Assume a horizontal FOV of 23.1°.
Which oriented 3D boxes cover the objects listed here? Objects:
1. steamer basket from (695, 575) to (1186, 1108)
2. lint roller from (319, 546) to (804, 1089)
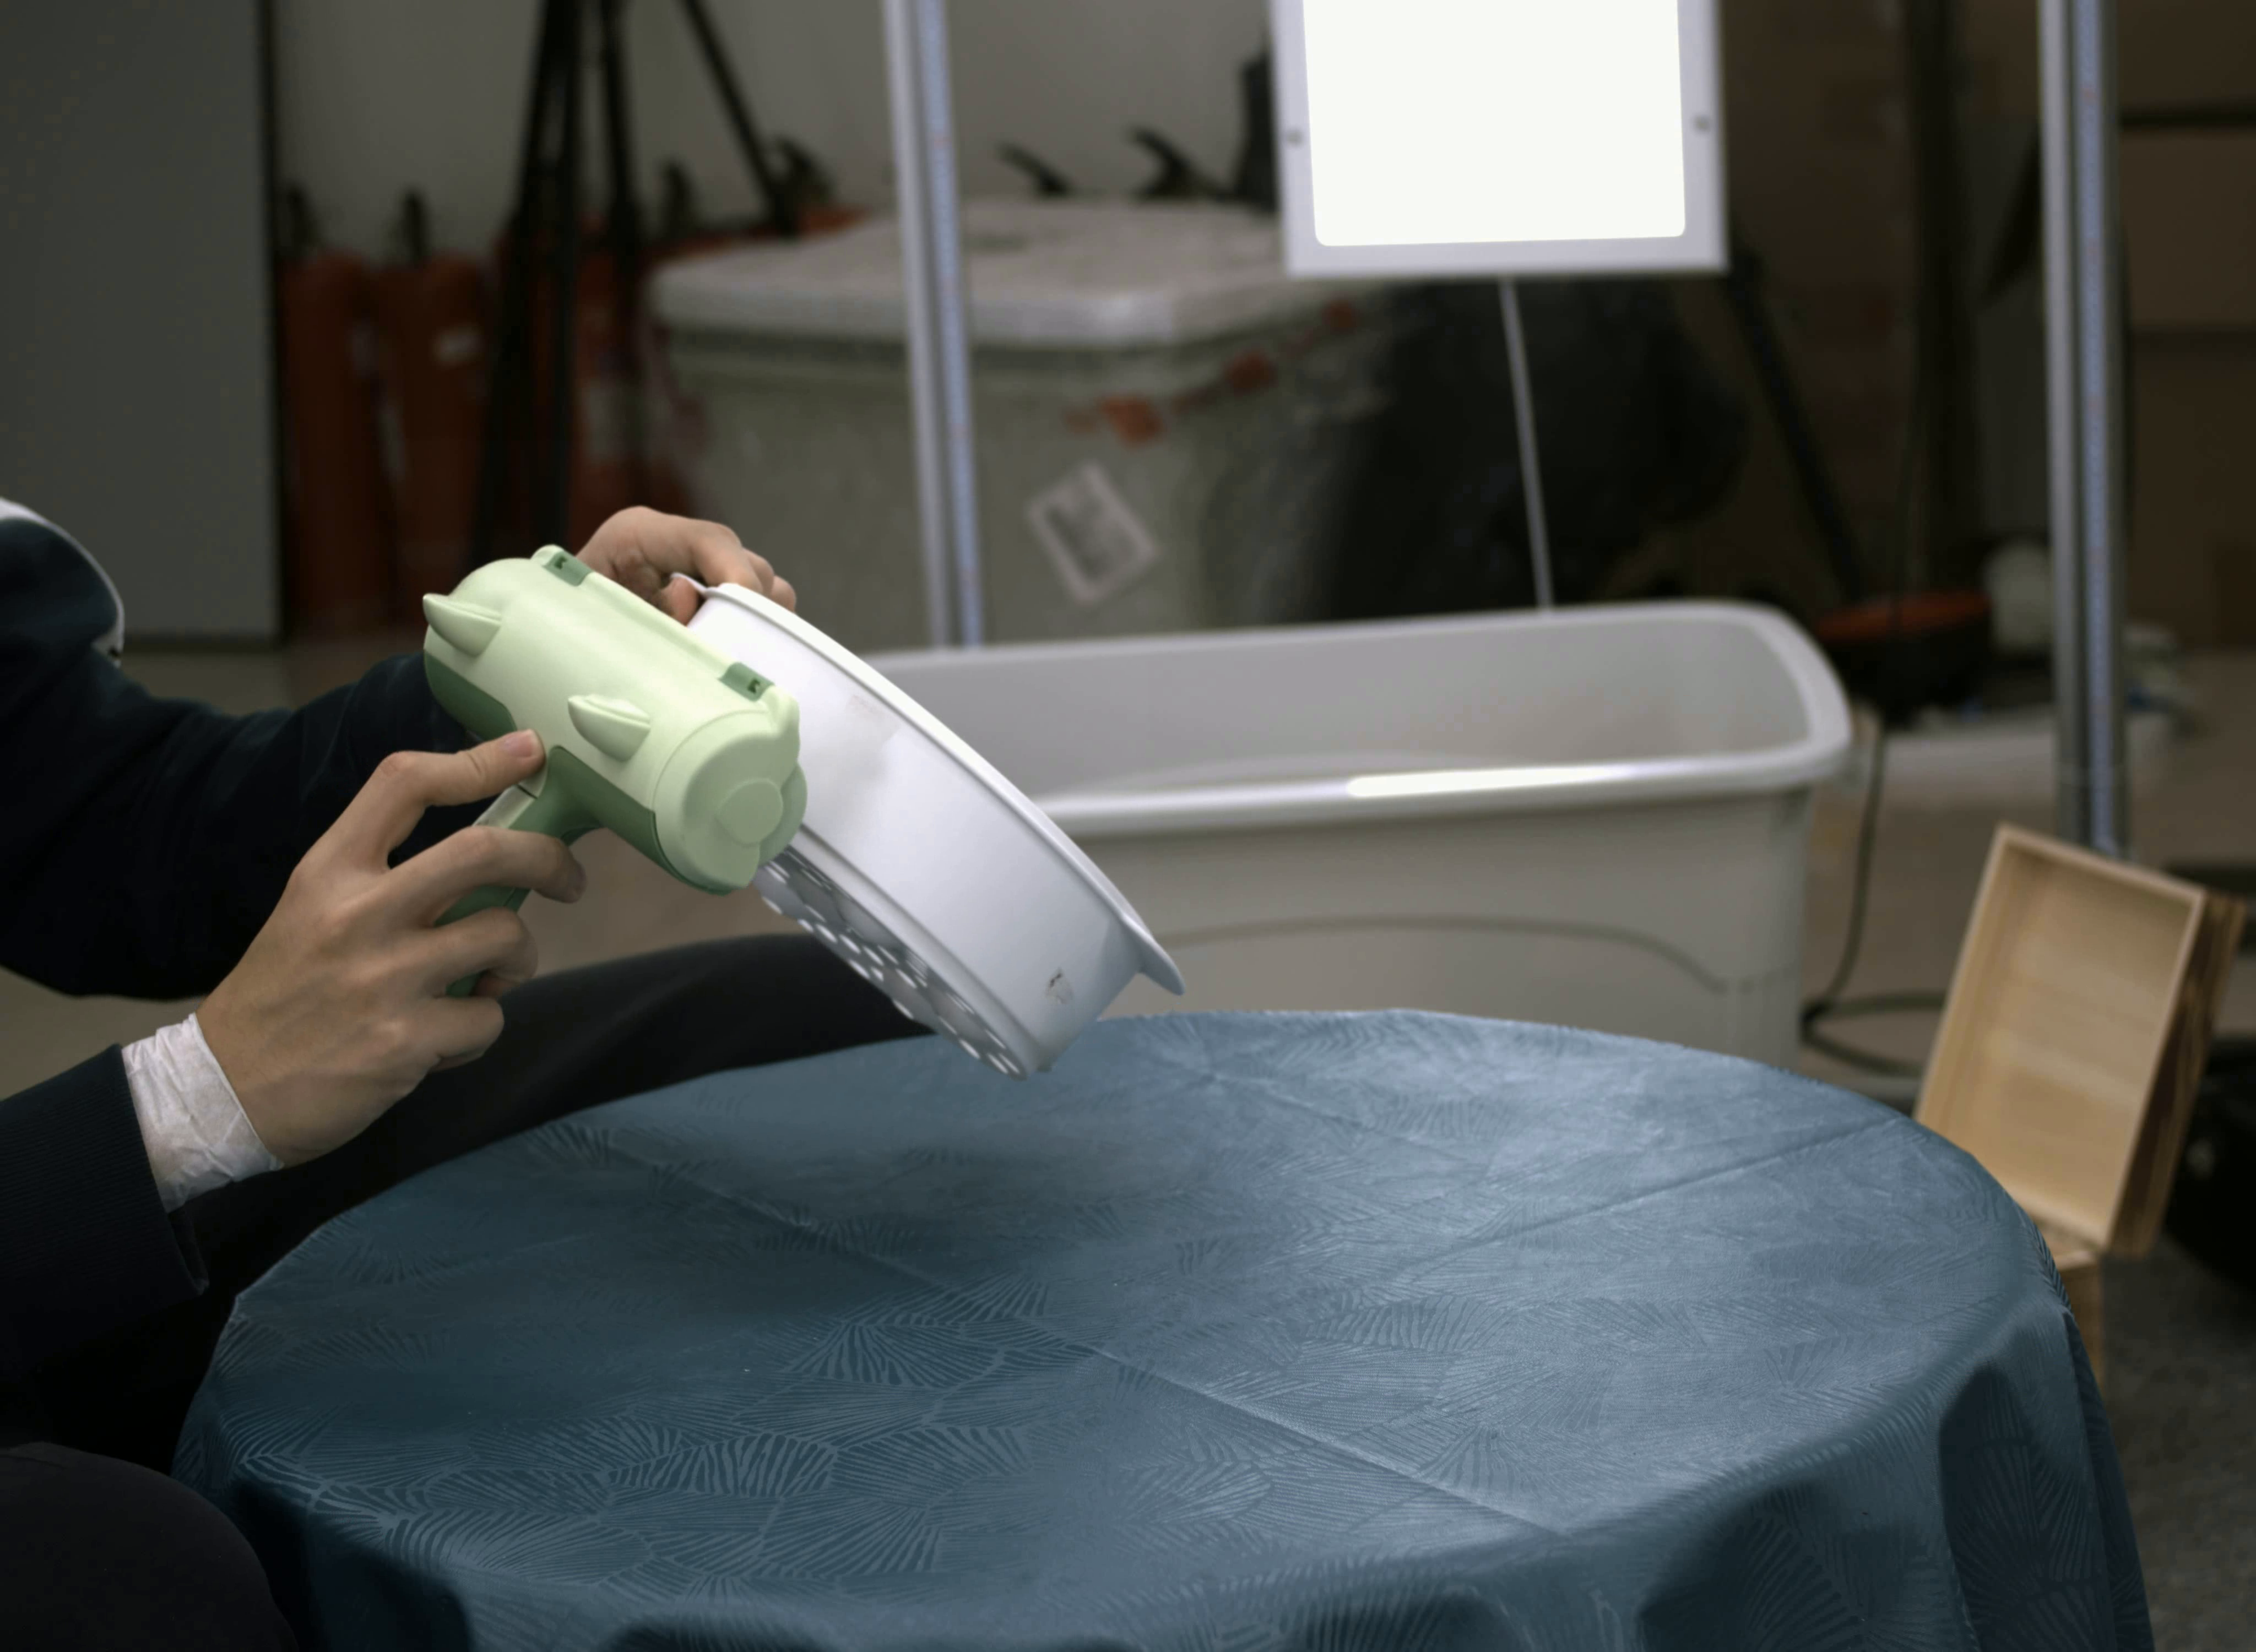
[{"bbox_3d":[-0.083,0.011,1.880,0.069,0.232,0.201,-46,-17,-8],"label":"steamer basket"},{"bbox_3d":[-0.211,-0.002,1.784,0.182,0.081,0.202,-46,34,-8],"label":"lint roller"}]
